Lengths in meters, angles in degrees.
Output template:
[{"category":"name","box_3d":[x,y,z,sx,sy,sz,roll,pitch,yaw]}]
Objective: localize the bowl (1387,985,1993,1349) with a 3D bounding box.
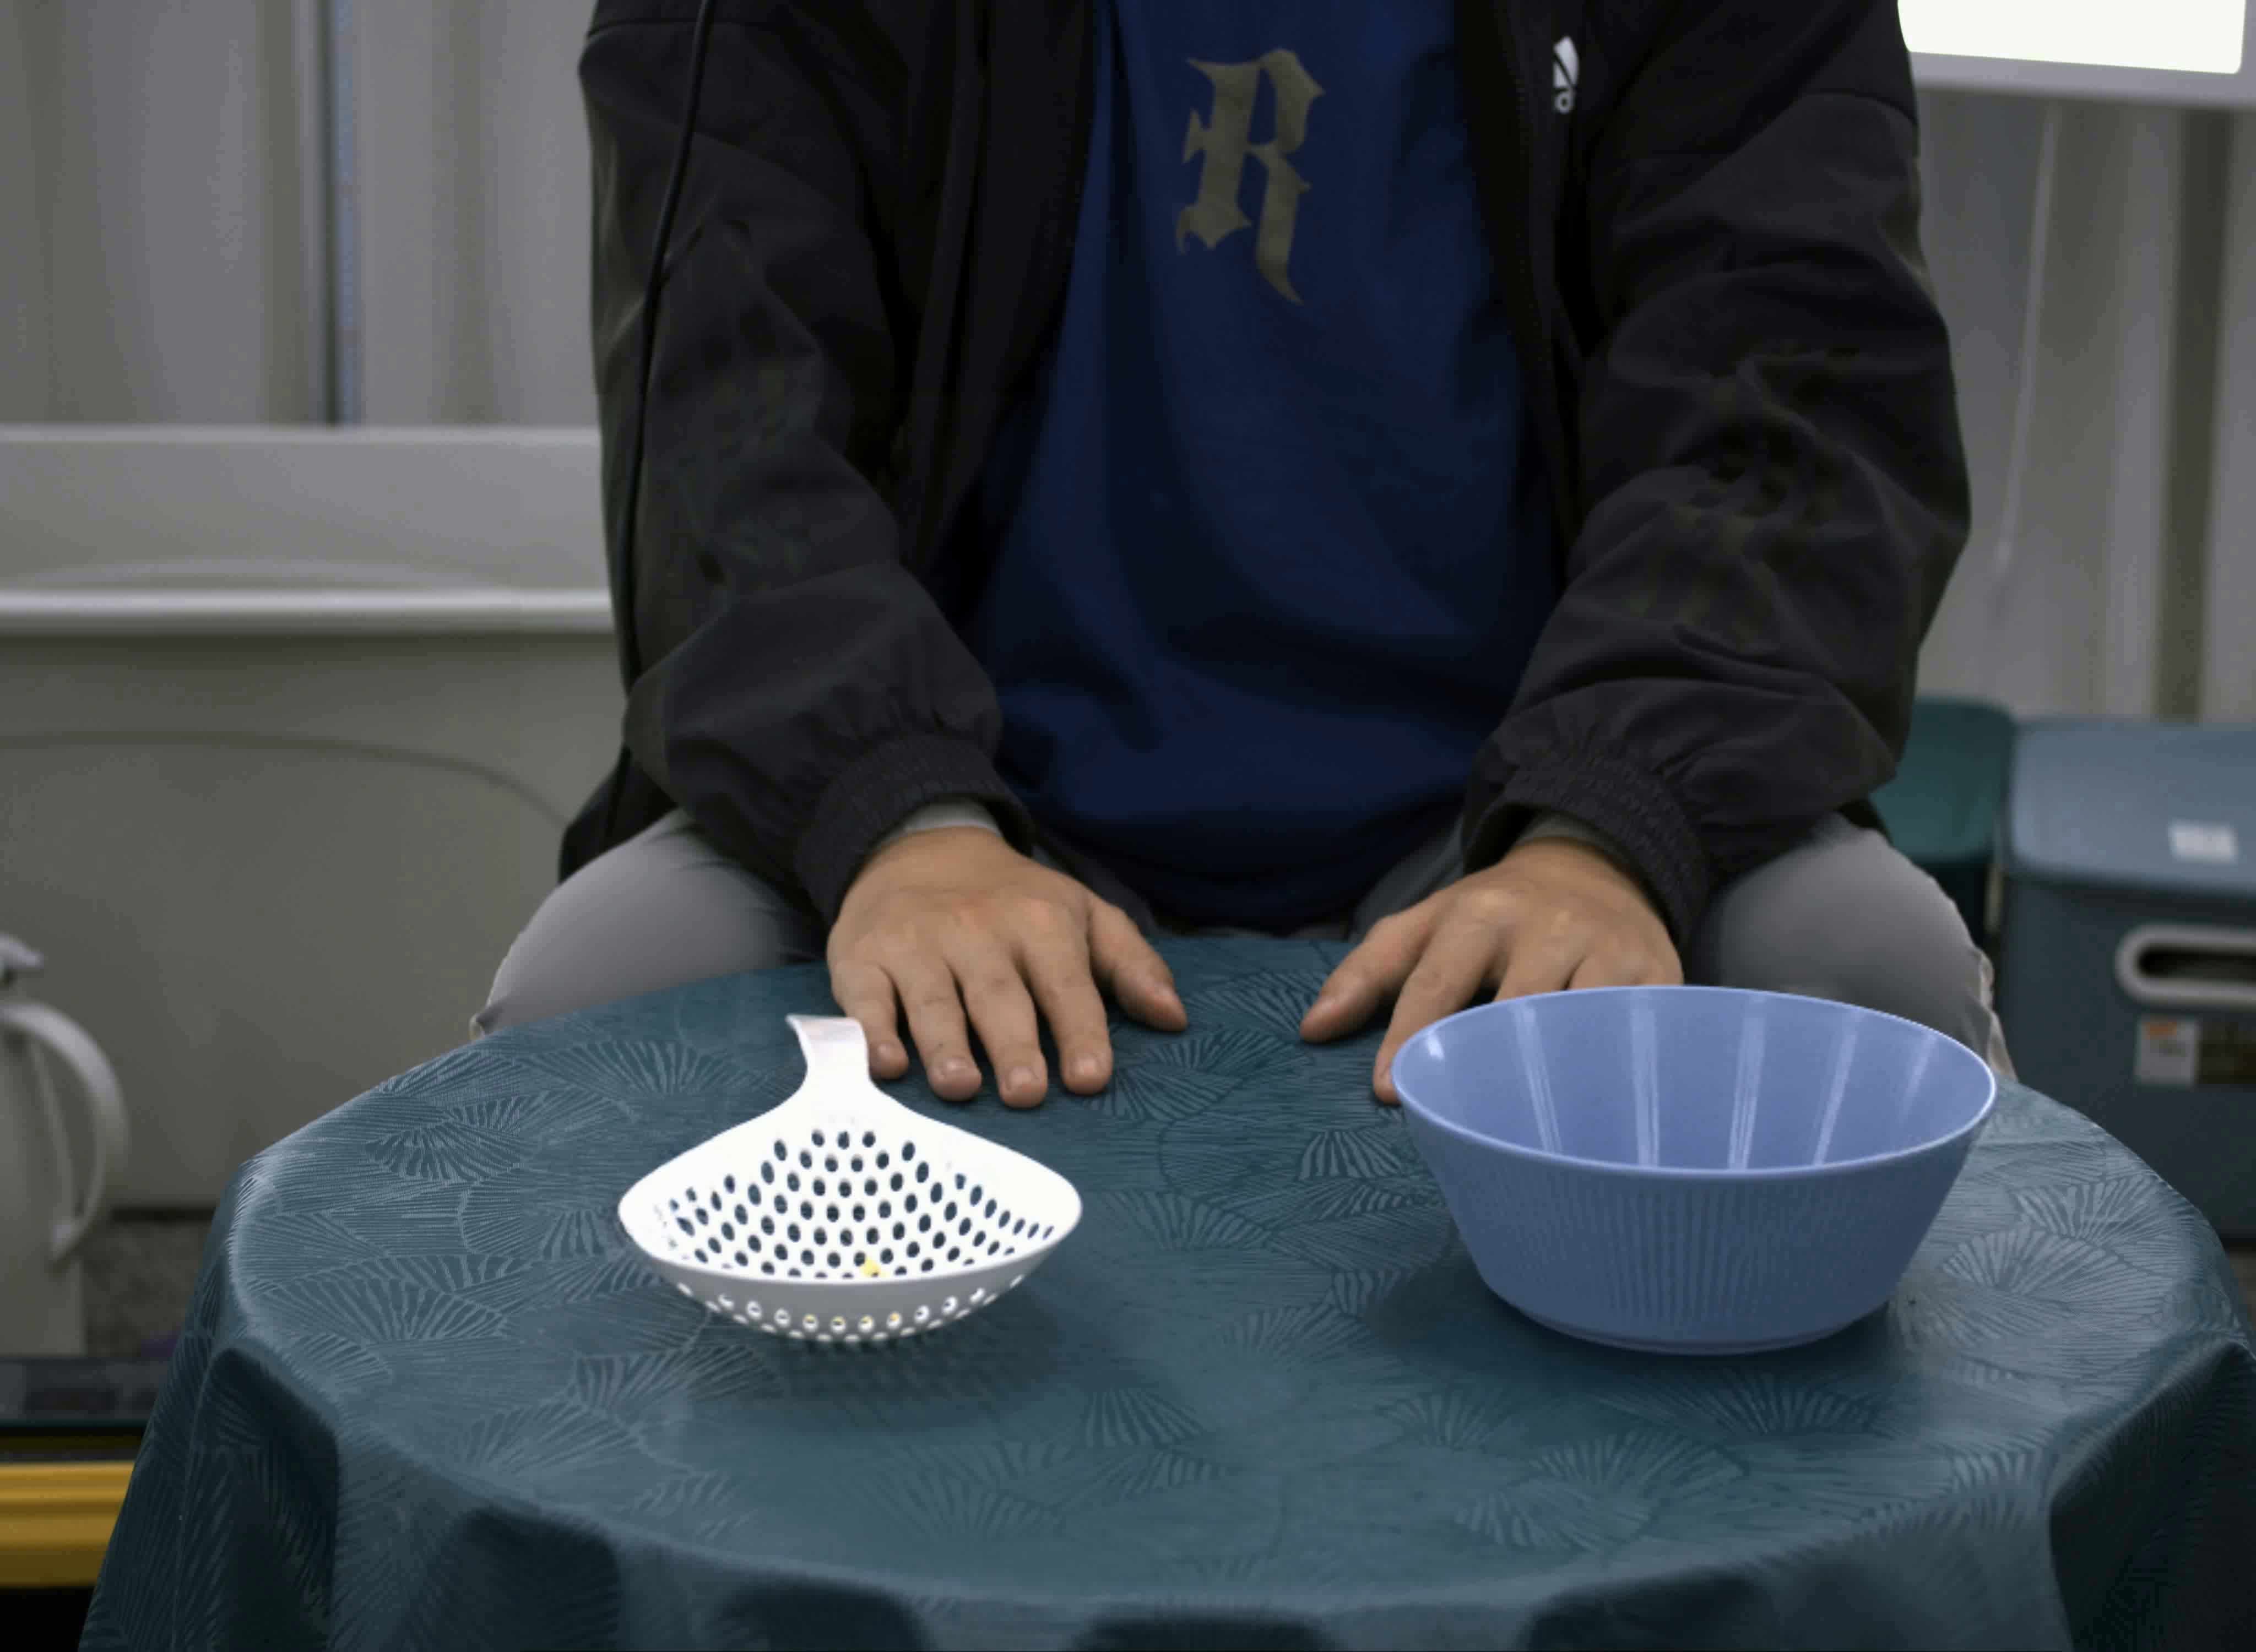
[{"category":"bowl","box_3d":[0.162,0.101,1.534,0.175,0.071,0.175,1,15,0]}]

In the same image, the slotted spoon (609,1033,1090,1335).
[{"category":"slotted spoon","box_3d":[-0.089,0.094,1.604,0.136,0.051,0.345,-5,15,-5]}]
